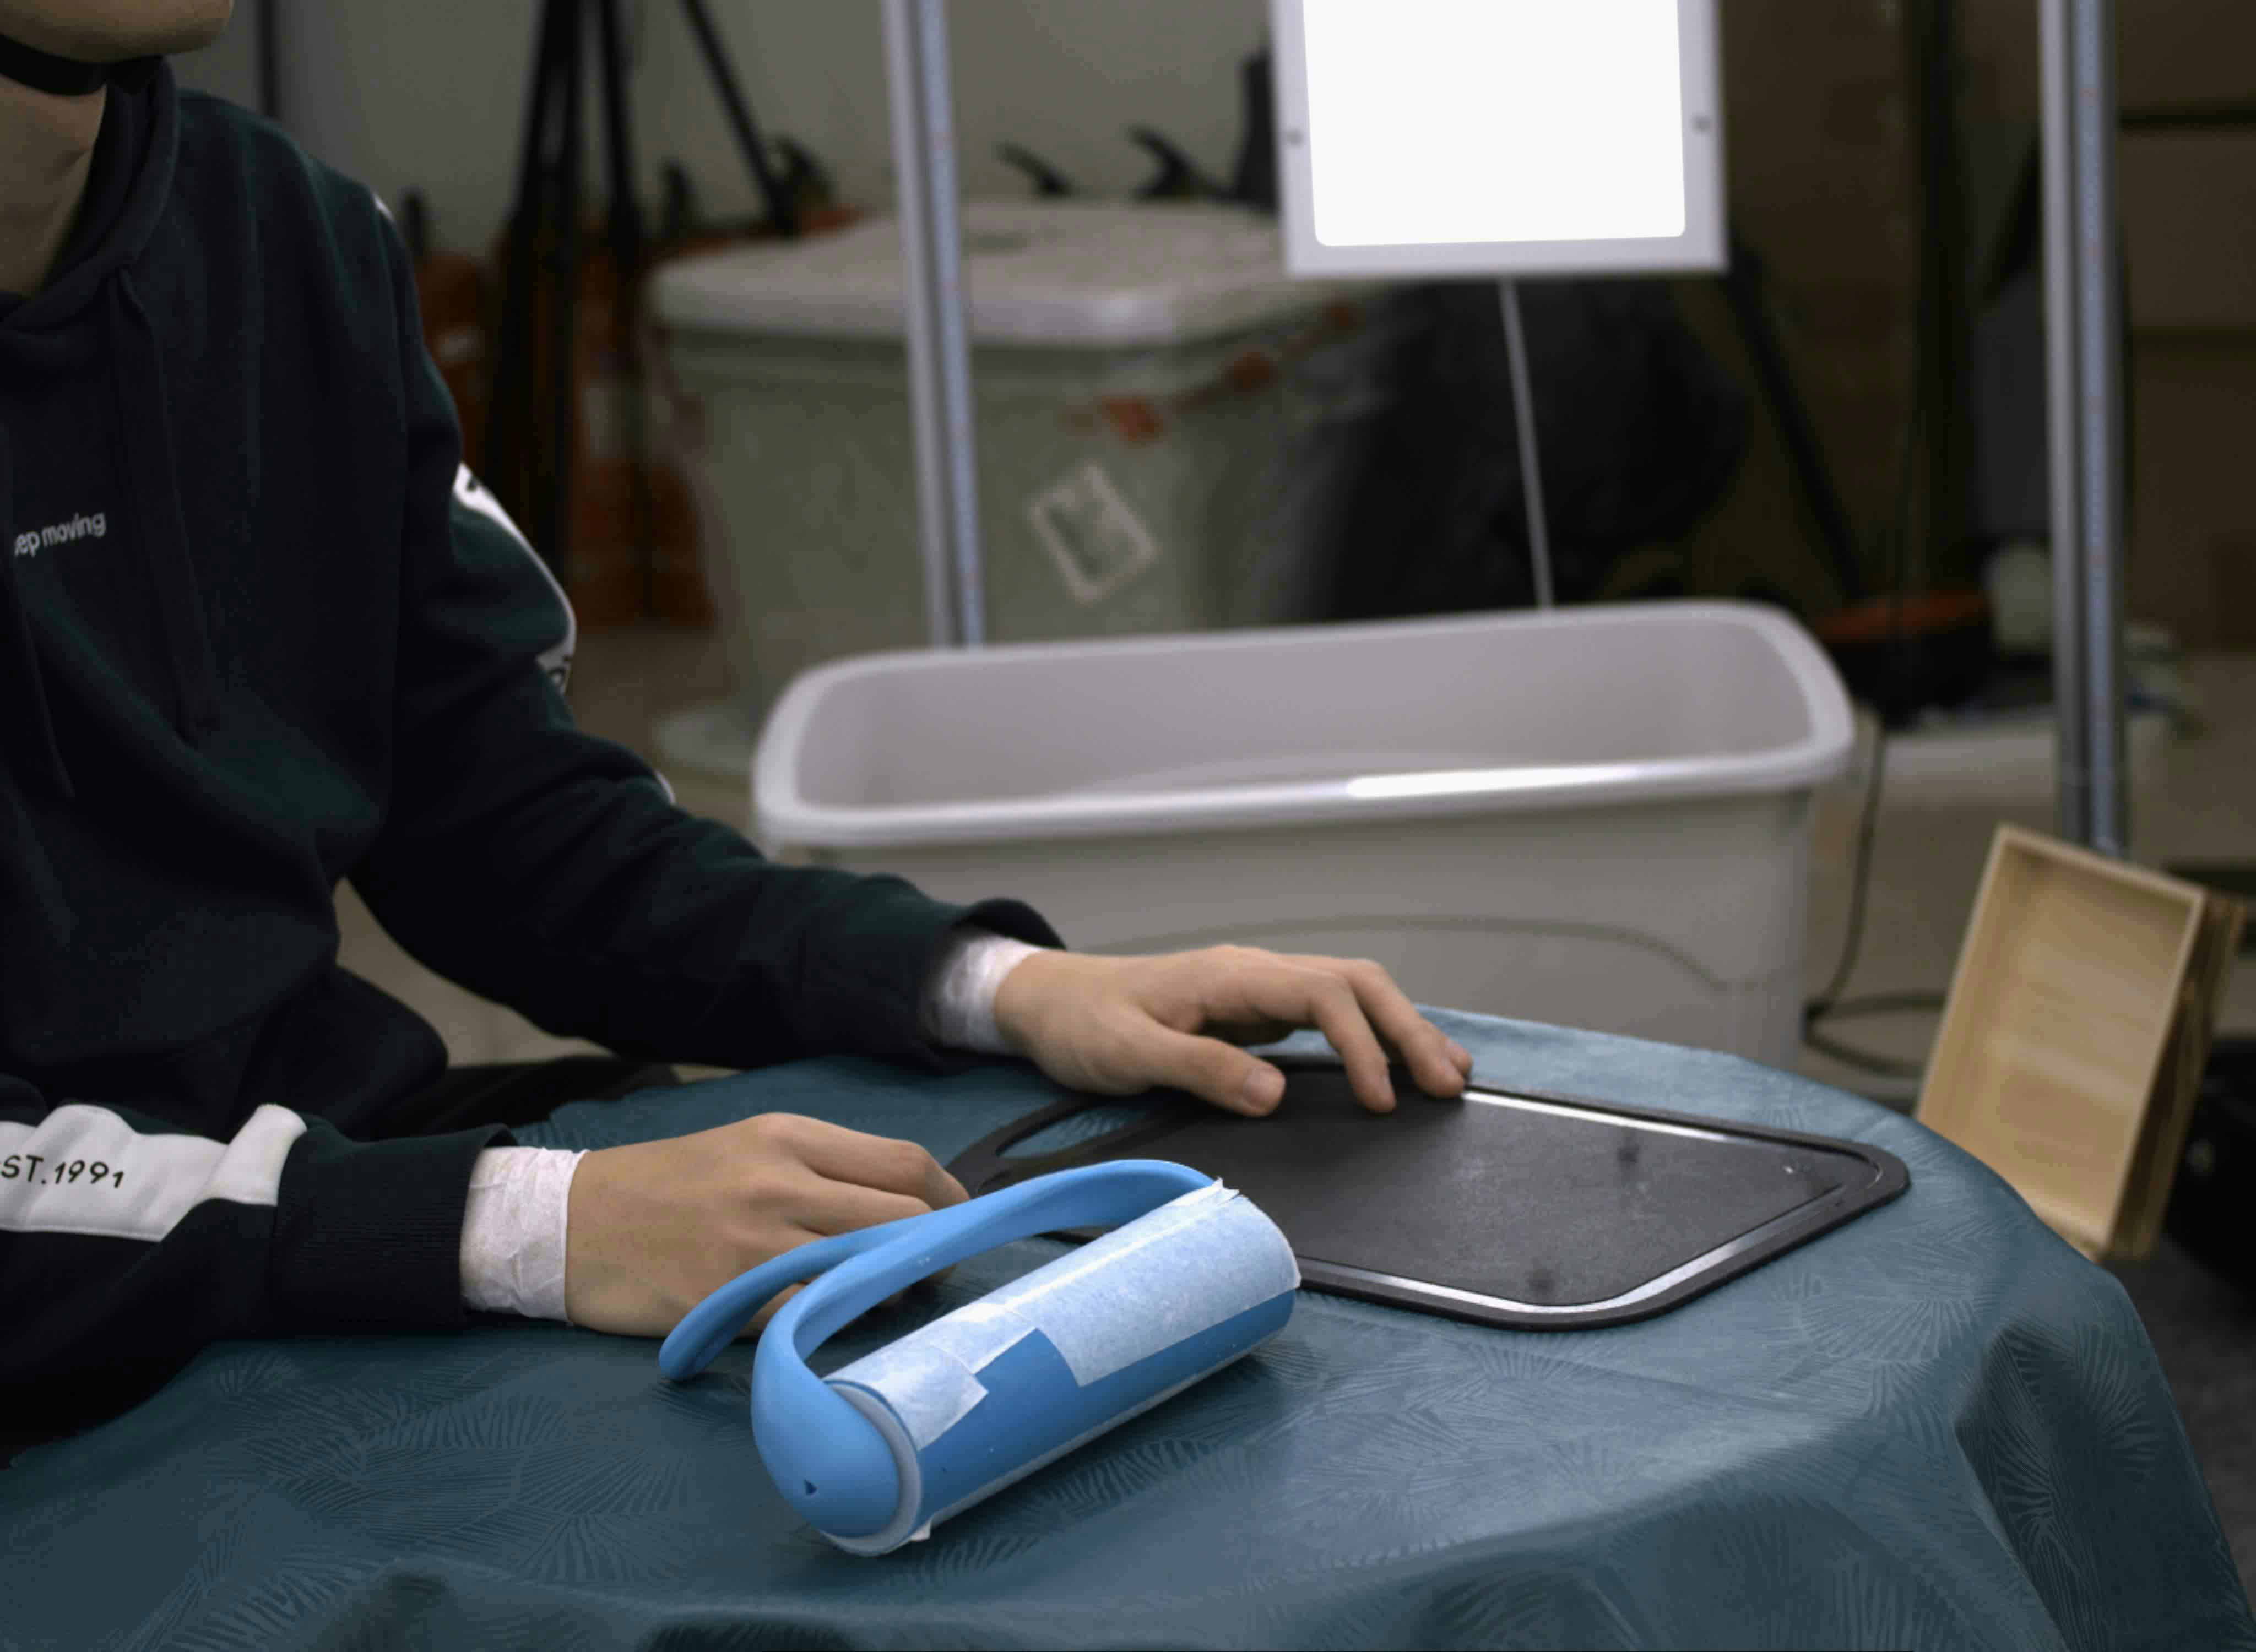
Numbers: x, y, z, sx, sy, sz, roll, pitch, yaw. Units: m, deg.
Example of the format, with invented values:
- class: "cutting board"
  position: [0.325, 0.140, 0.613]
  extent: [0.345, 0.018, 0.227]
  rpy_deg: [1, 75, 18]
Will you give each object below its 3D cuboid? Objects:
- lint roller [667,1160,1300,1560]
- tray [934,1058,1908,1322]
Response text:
- class: "lint roller"
  position: [-0.072, 0.155, 1.685]
  extent: [0.184, 0.068, 0.223]
  rpy_deg: [6, 20, 34]
- class: "tray"
  position: [0.091, 0.119, 1.878]
  extent: [0.332, 0.010, 0.206]
  rpy_deg: [7, 18, 42]
